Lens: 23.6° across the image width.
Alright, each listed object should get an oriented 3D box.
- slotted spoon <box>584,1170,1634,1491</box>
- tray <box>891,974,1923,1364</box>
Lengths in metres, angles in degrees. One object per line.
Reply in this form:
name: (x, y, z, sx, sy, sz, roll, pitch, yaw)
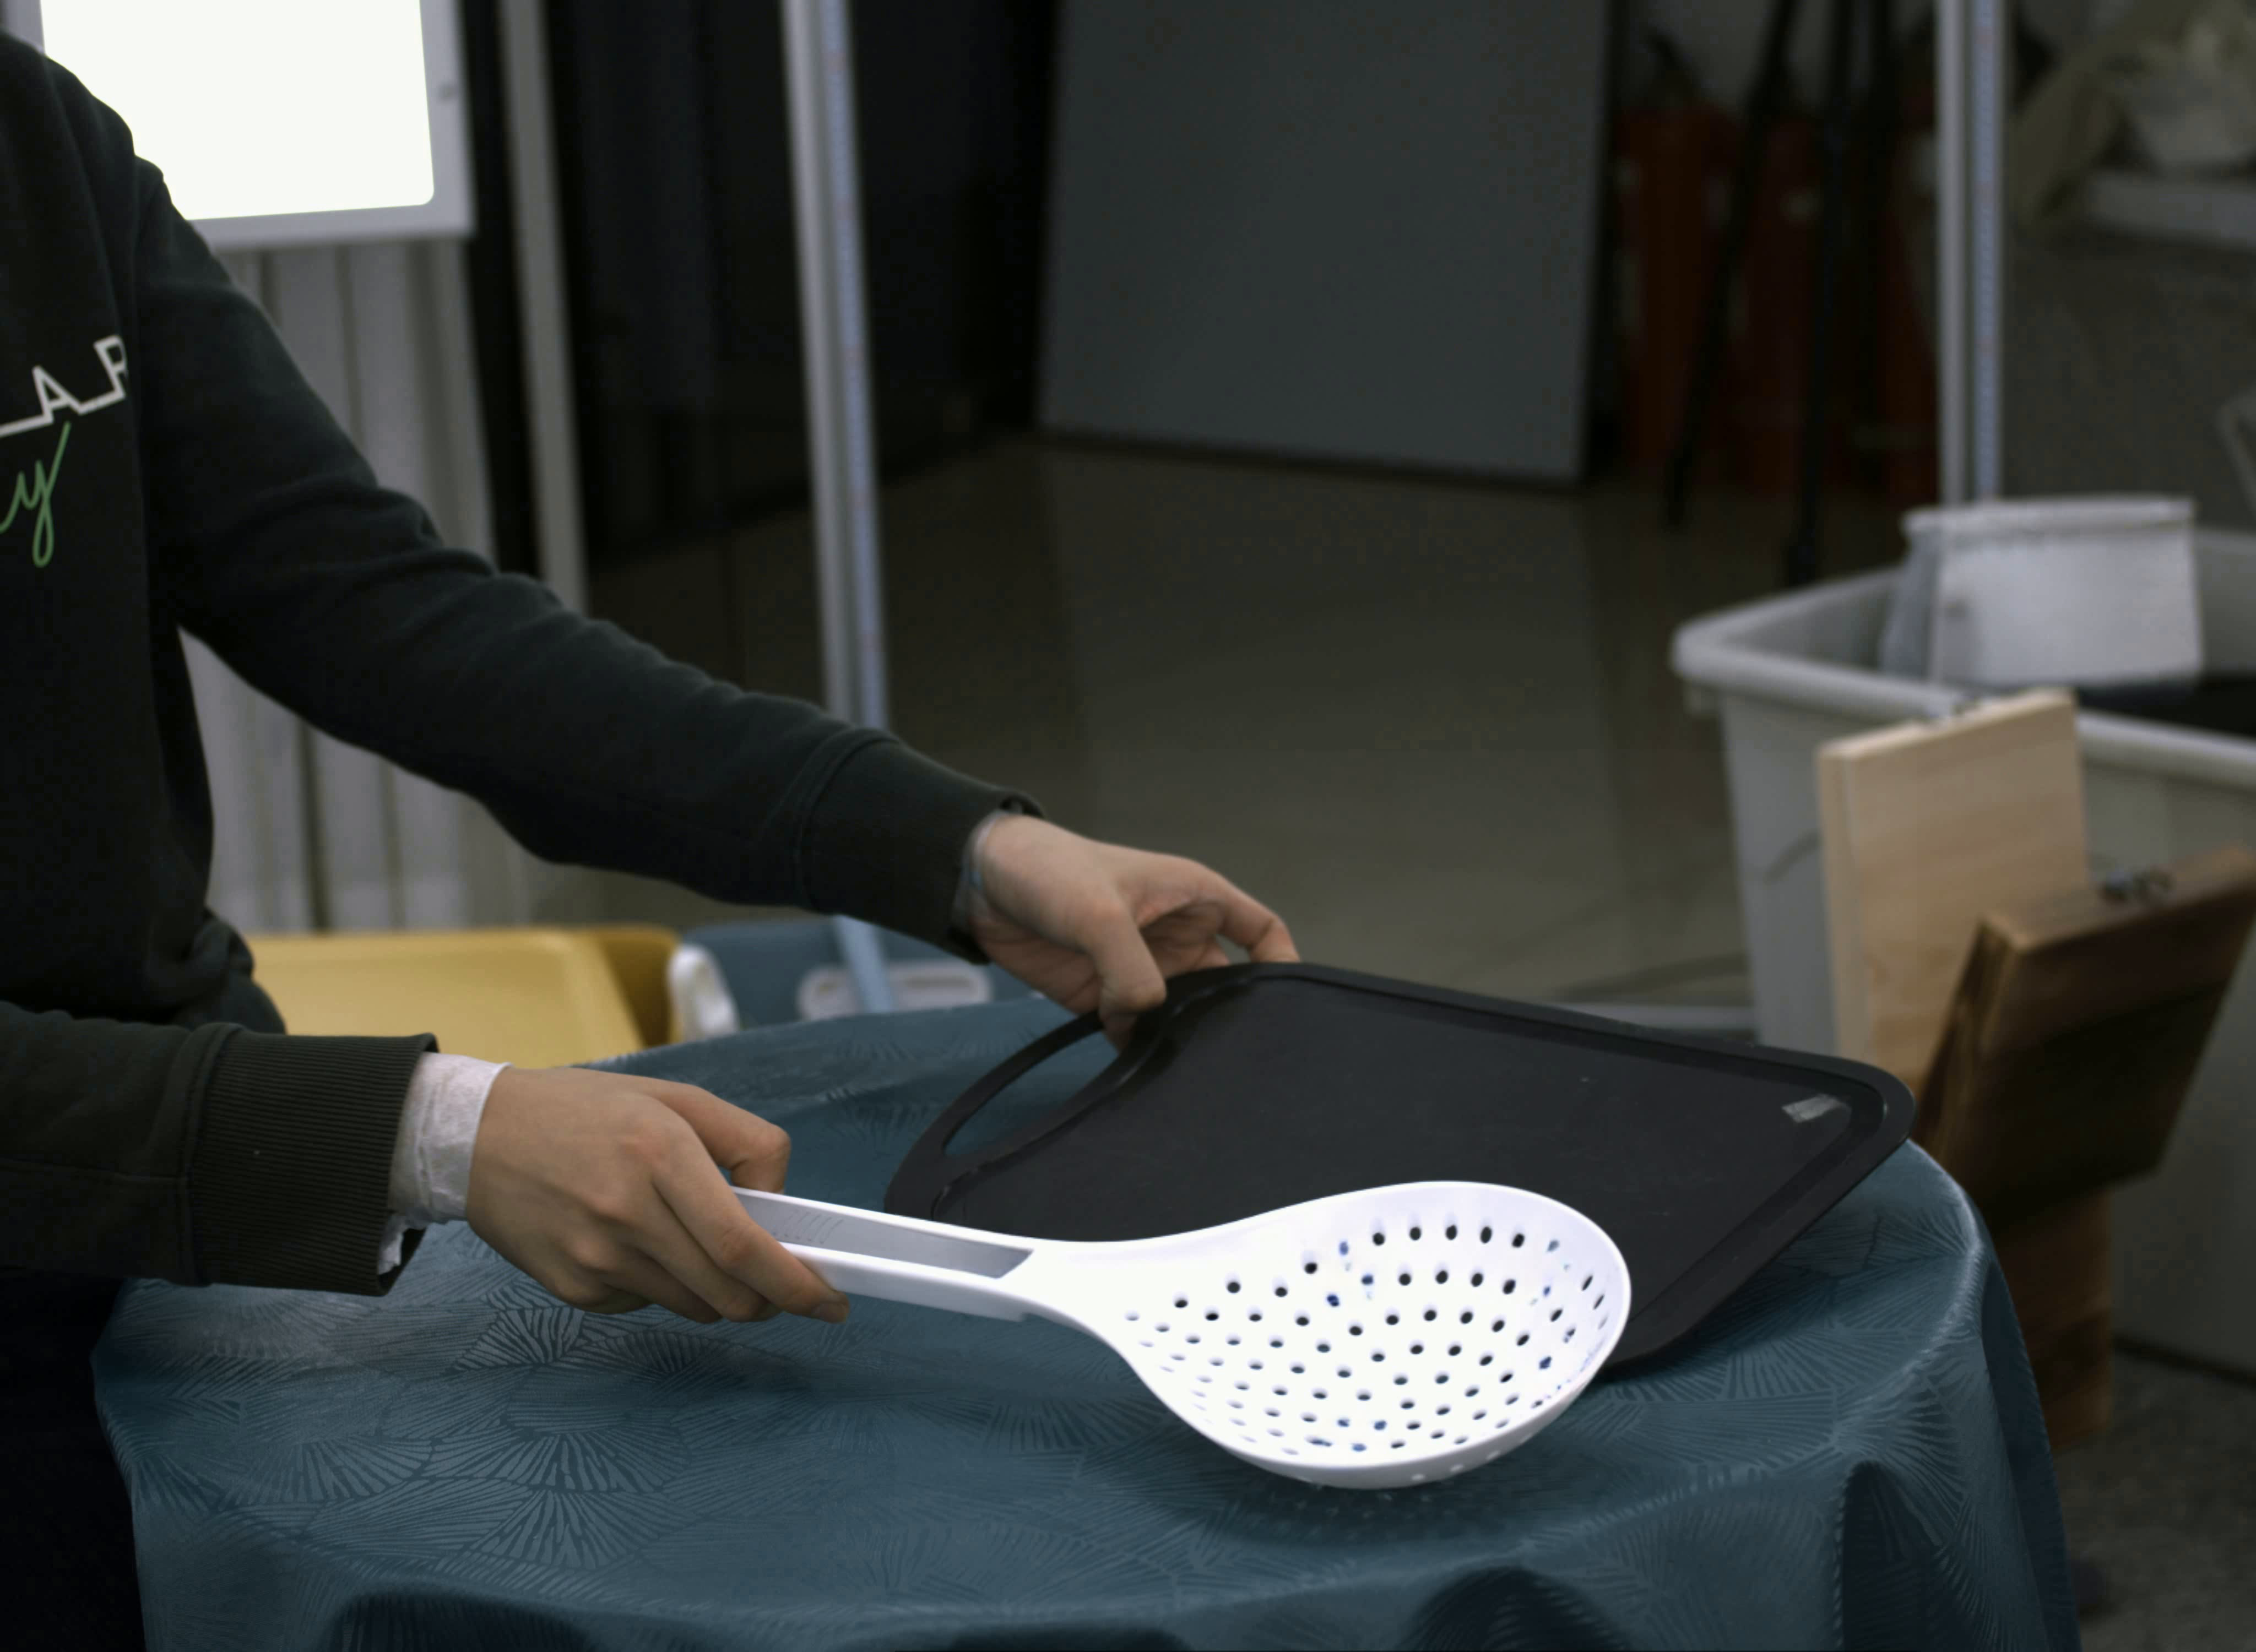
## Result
slotted spoon: (-0.014, 0.134, 1.568, 0.351, 0.046, 0.134, 10, 36, 30)
tray: (0.079, 0.104, 1.720, 0.328, 0.010, 0.208, 8, 29, 39)
